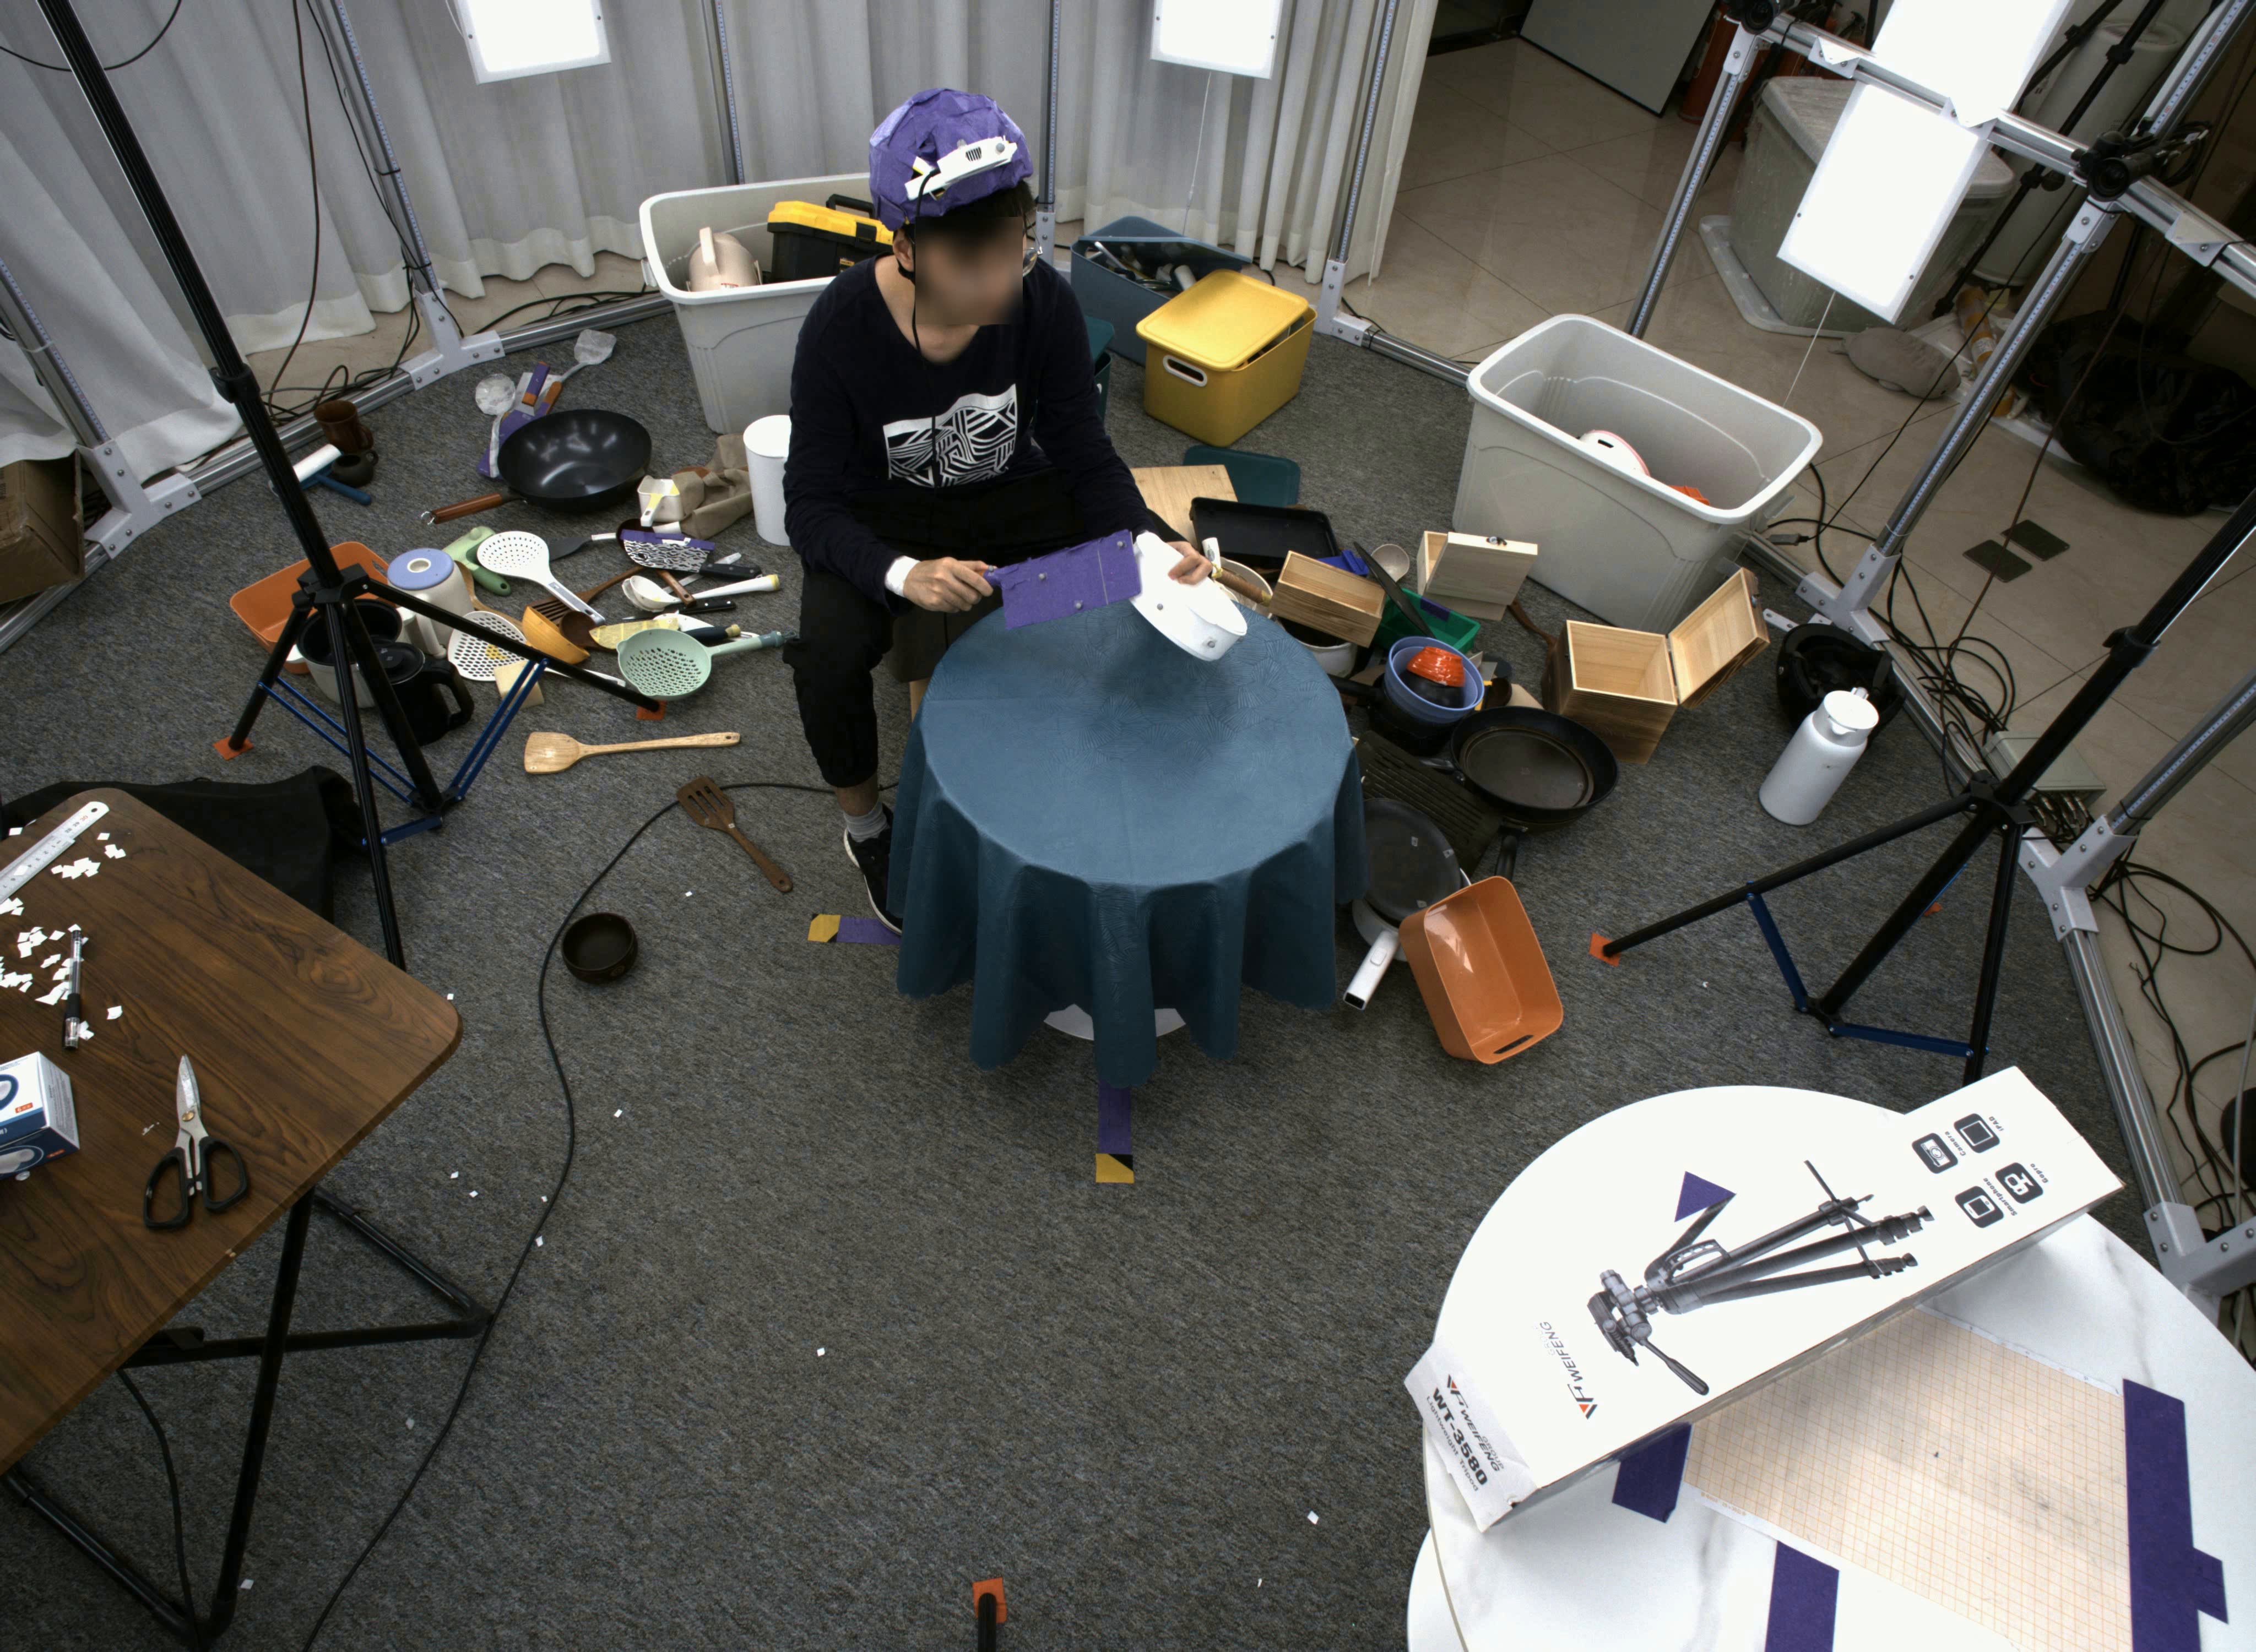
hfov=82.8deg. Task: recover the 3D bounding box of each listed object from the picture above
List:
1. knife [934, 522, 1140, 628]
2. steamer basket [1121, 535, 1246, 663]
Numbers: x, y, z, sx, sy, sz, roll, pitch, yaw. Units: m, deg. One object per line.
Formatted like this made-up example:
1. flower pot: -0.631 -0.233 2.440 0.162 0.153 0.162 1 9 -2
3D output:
1. knife: -0.129 -0.325 1.765 0.315 0.032 0.105 -12 80 27
2. steamer basket: 0.070 -0.312 1.785 0.200 0.068 0.235 37 19 -17
